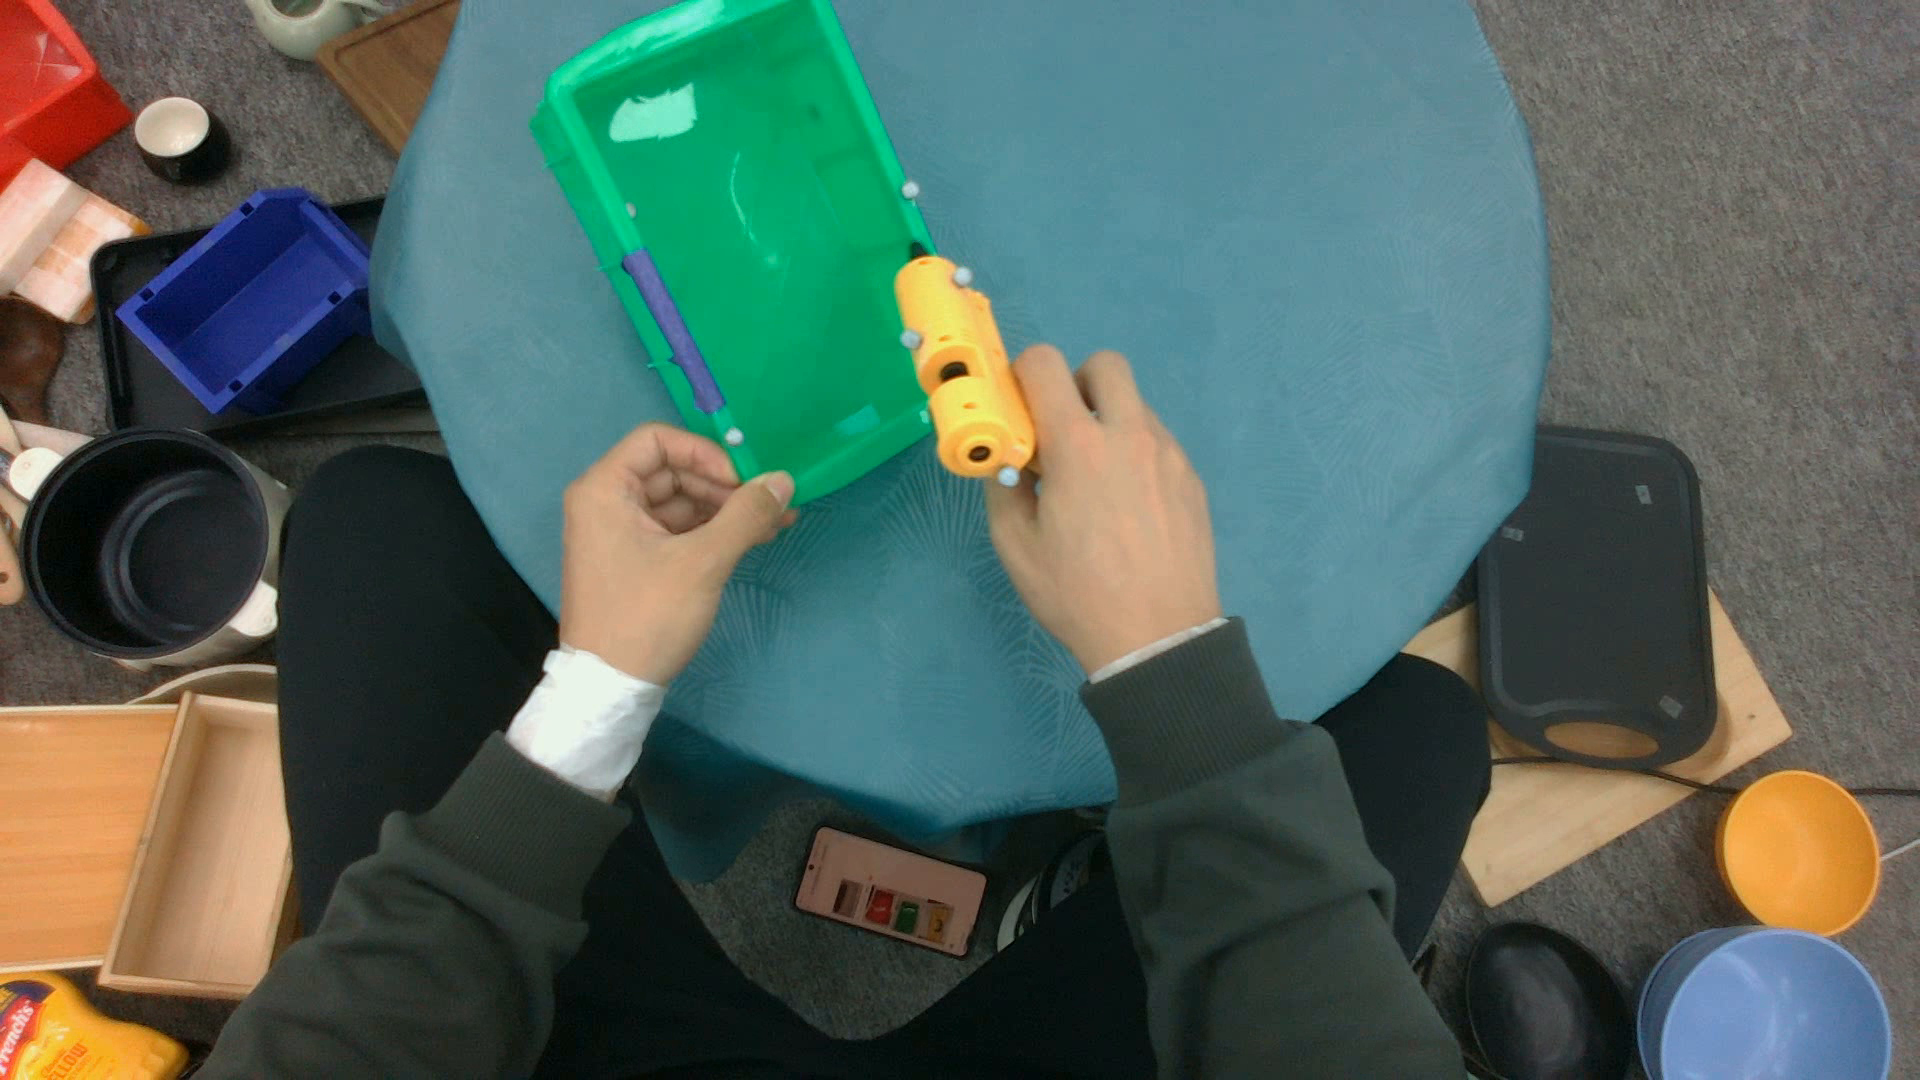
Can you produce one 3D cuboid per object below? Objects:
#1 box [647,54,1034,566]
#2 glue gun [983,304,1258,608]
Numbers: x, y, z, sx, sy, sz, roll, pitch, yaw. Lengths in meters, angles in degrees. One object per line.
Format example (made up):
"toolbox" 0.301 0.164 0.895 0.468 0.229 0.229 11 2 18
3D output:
"box" -0.048 -0.106 0.647 0.139 0.065 0.210 -32 109 -24
"glue gun" 0.064 -0.045 0.616 0.133 0.031 0.152 23 36 -32
